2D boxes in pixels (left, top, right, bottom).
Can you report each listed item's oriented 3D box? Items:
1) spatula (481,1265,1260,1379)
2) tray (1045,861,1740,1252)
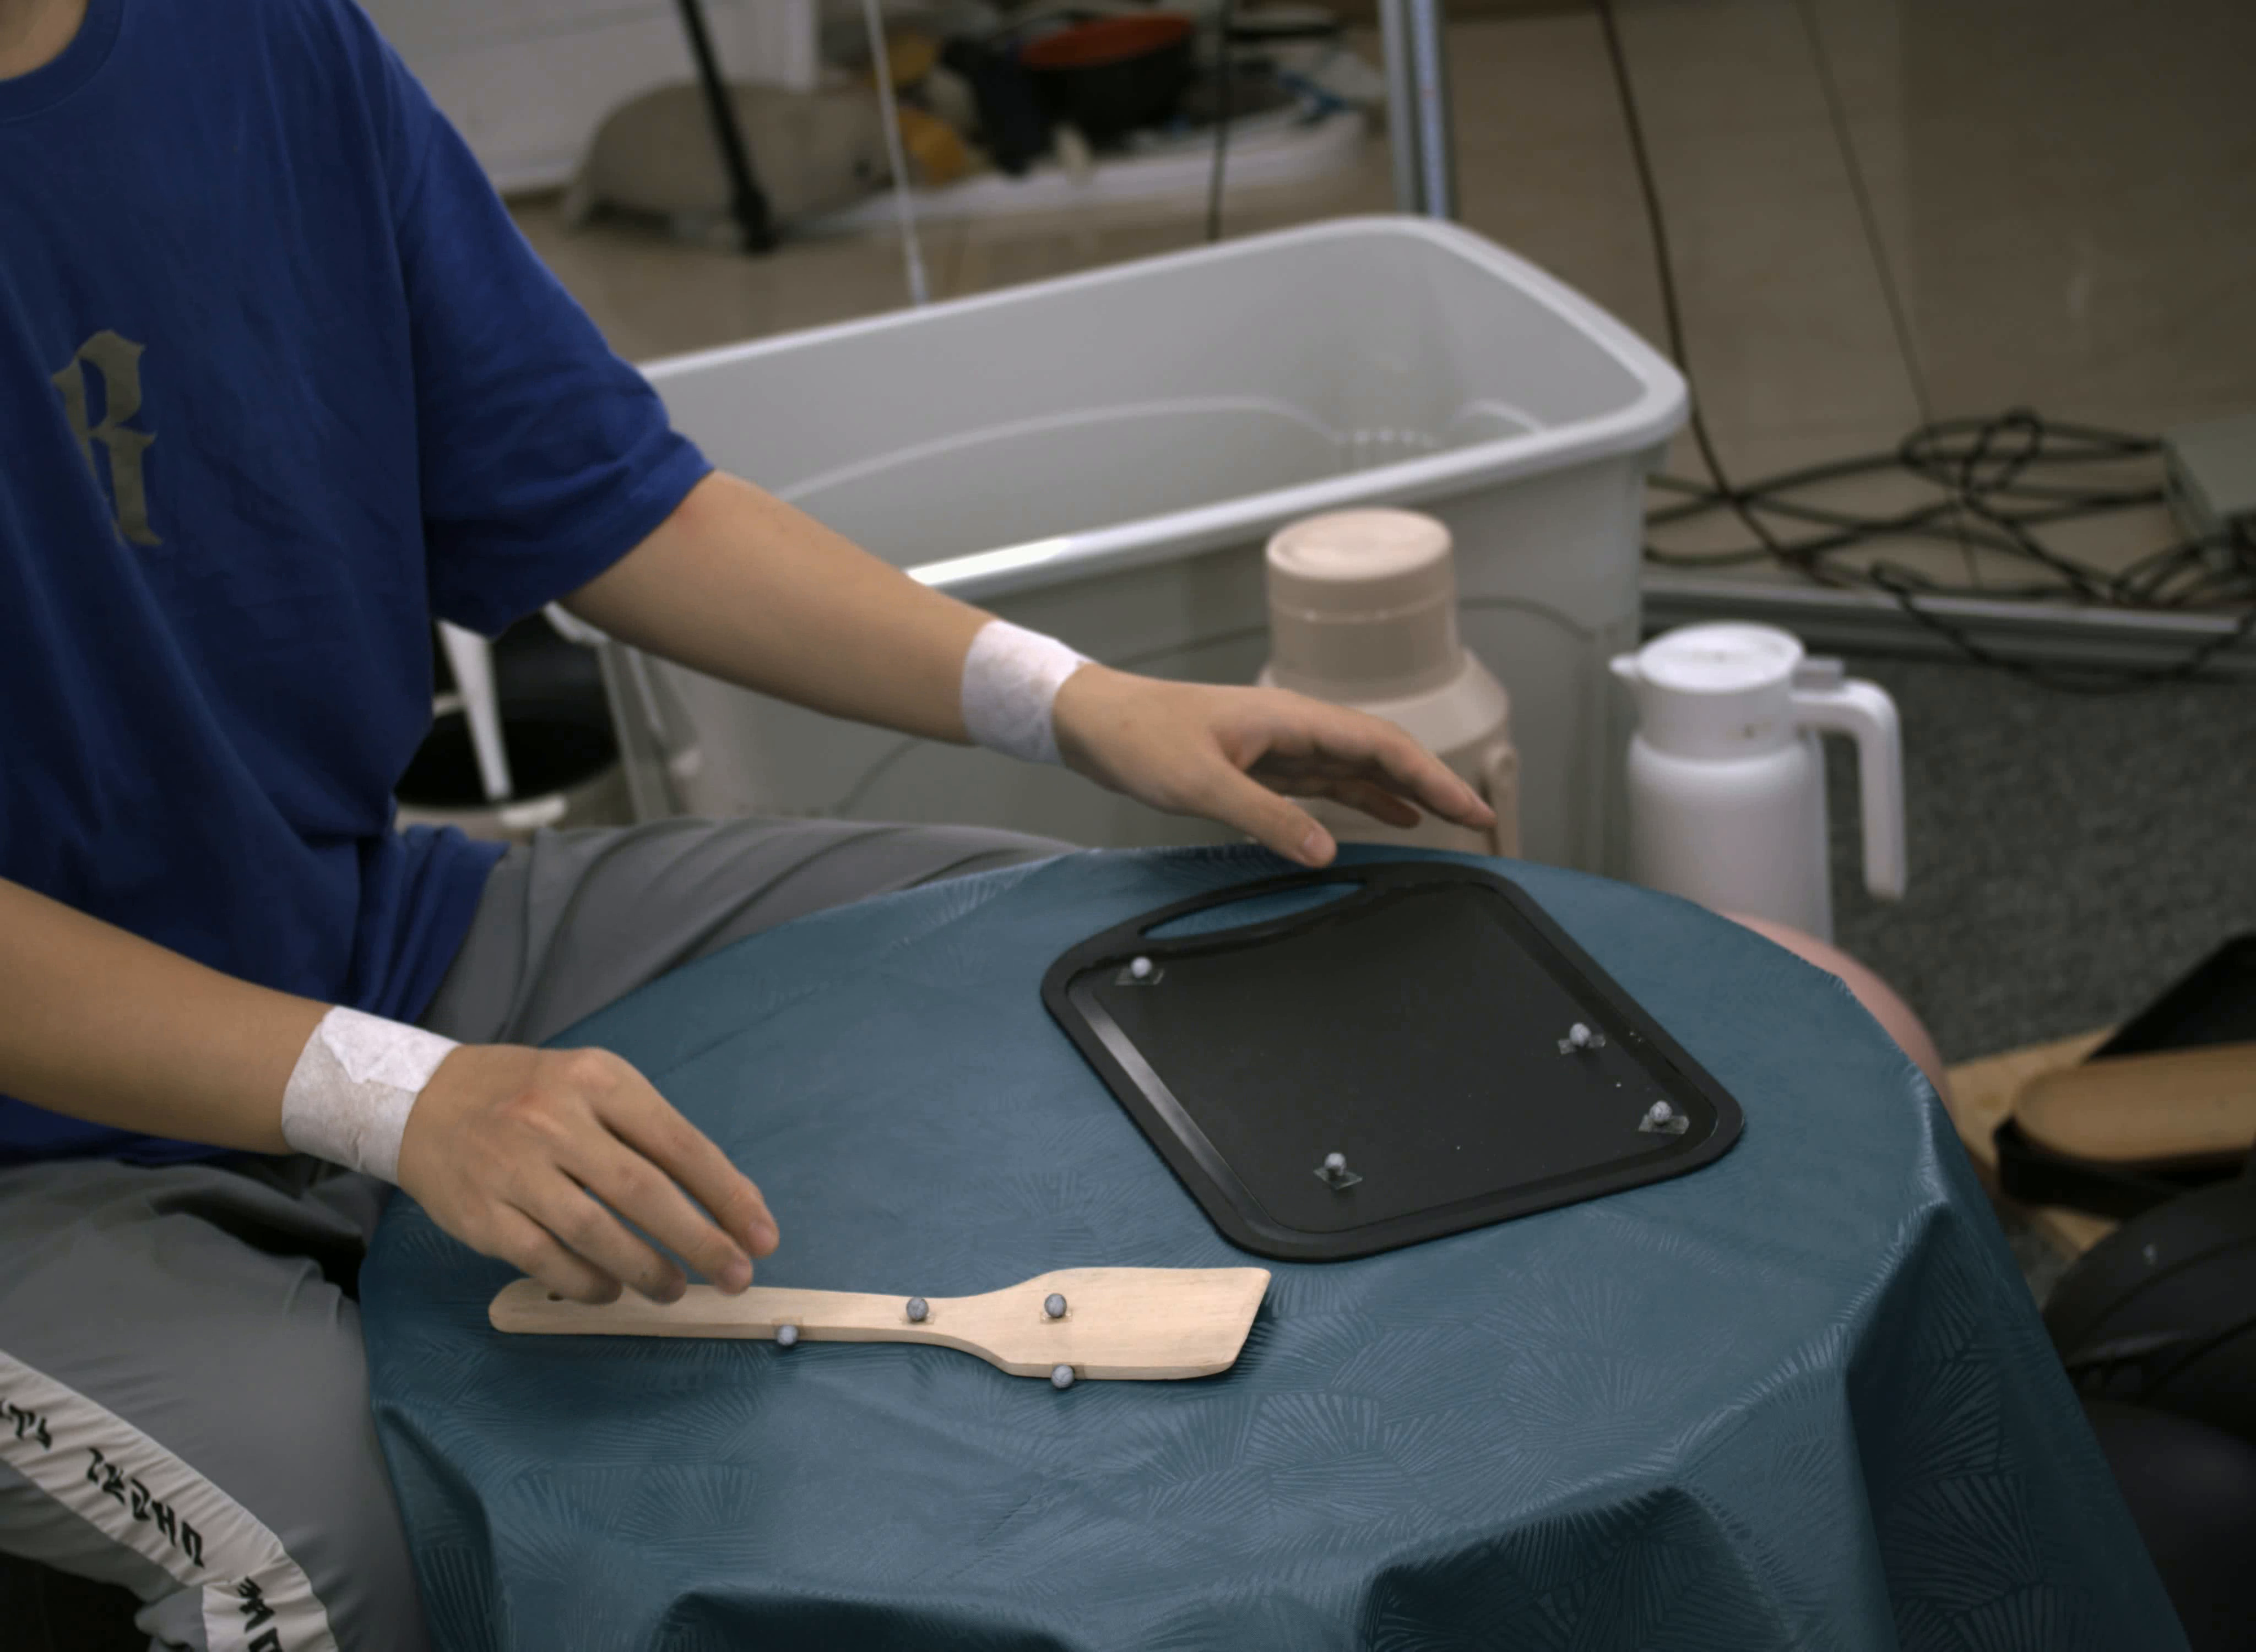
[{"bbox_3d":[-0.099,0.178,2.076,0.292,0.011,0.071,0,27,15],"label":"spatula"},{"bbox_3d":[0.095,0.083,2.236,0.210,0.010,0.321,-13,25,-13],"label":"tray"}]
